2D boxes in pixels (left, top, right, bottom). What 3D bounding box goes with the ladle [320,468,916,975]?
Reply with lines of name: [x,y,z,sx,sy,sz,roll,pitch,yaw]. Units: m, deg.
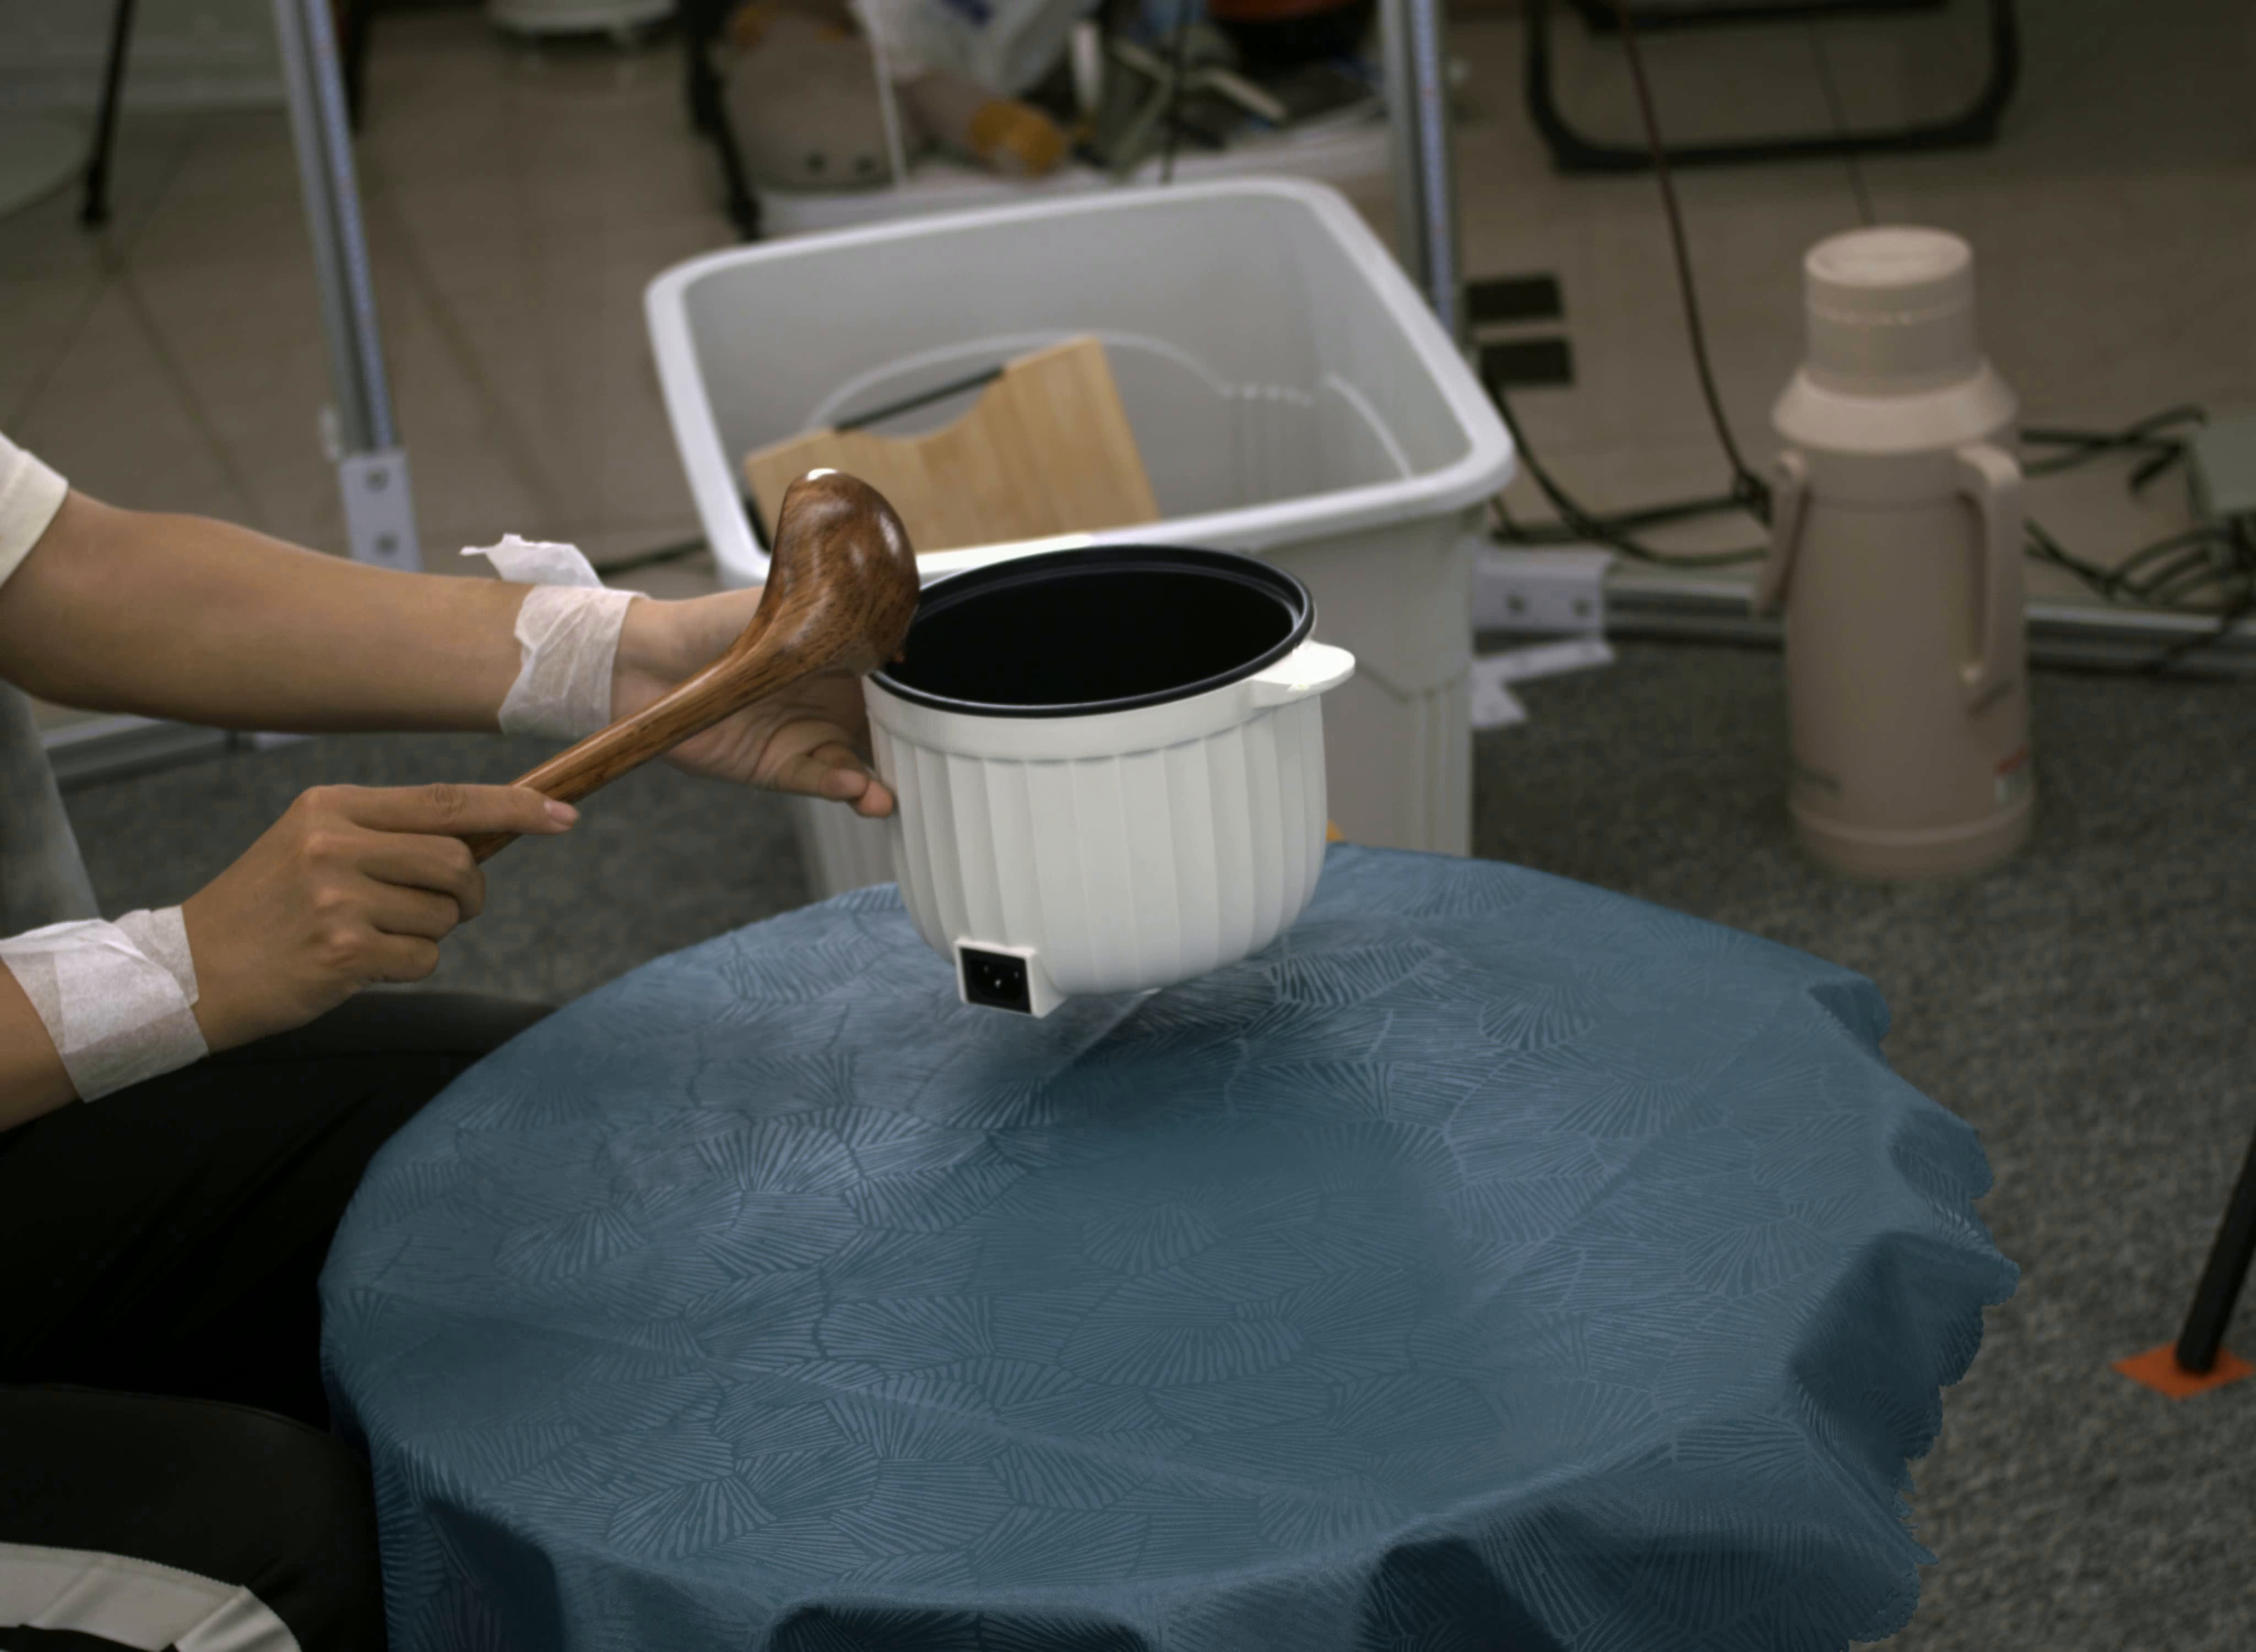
ladle: [-0.197,-0.040,2.142,0.273,0.083,0.076,-34,25,-8]

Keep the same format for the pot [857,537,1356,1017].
pot: [-0.009,-0.023,2.260,0.239,0.145,0.188,11,32,31]
